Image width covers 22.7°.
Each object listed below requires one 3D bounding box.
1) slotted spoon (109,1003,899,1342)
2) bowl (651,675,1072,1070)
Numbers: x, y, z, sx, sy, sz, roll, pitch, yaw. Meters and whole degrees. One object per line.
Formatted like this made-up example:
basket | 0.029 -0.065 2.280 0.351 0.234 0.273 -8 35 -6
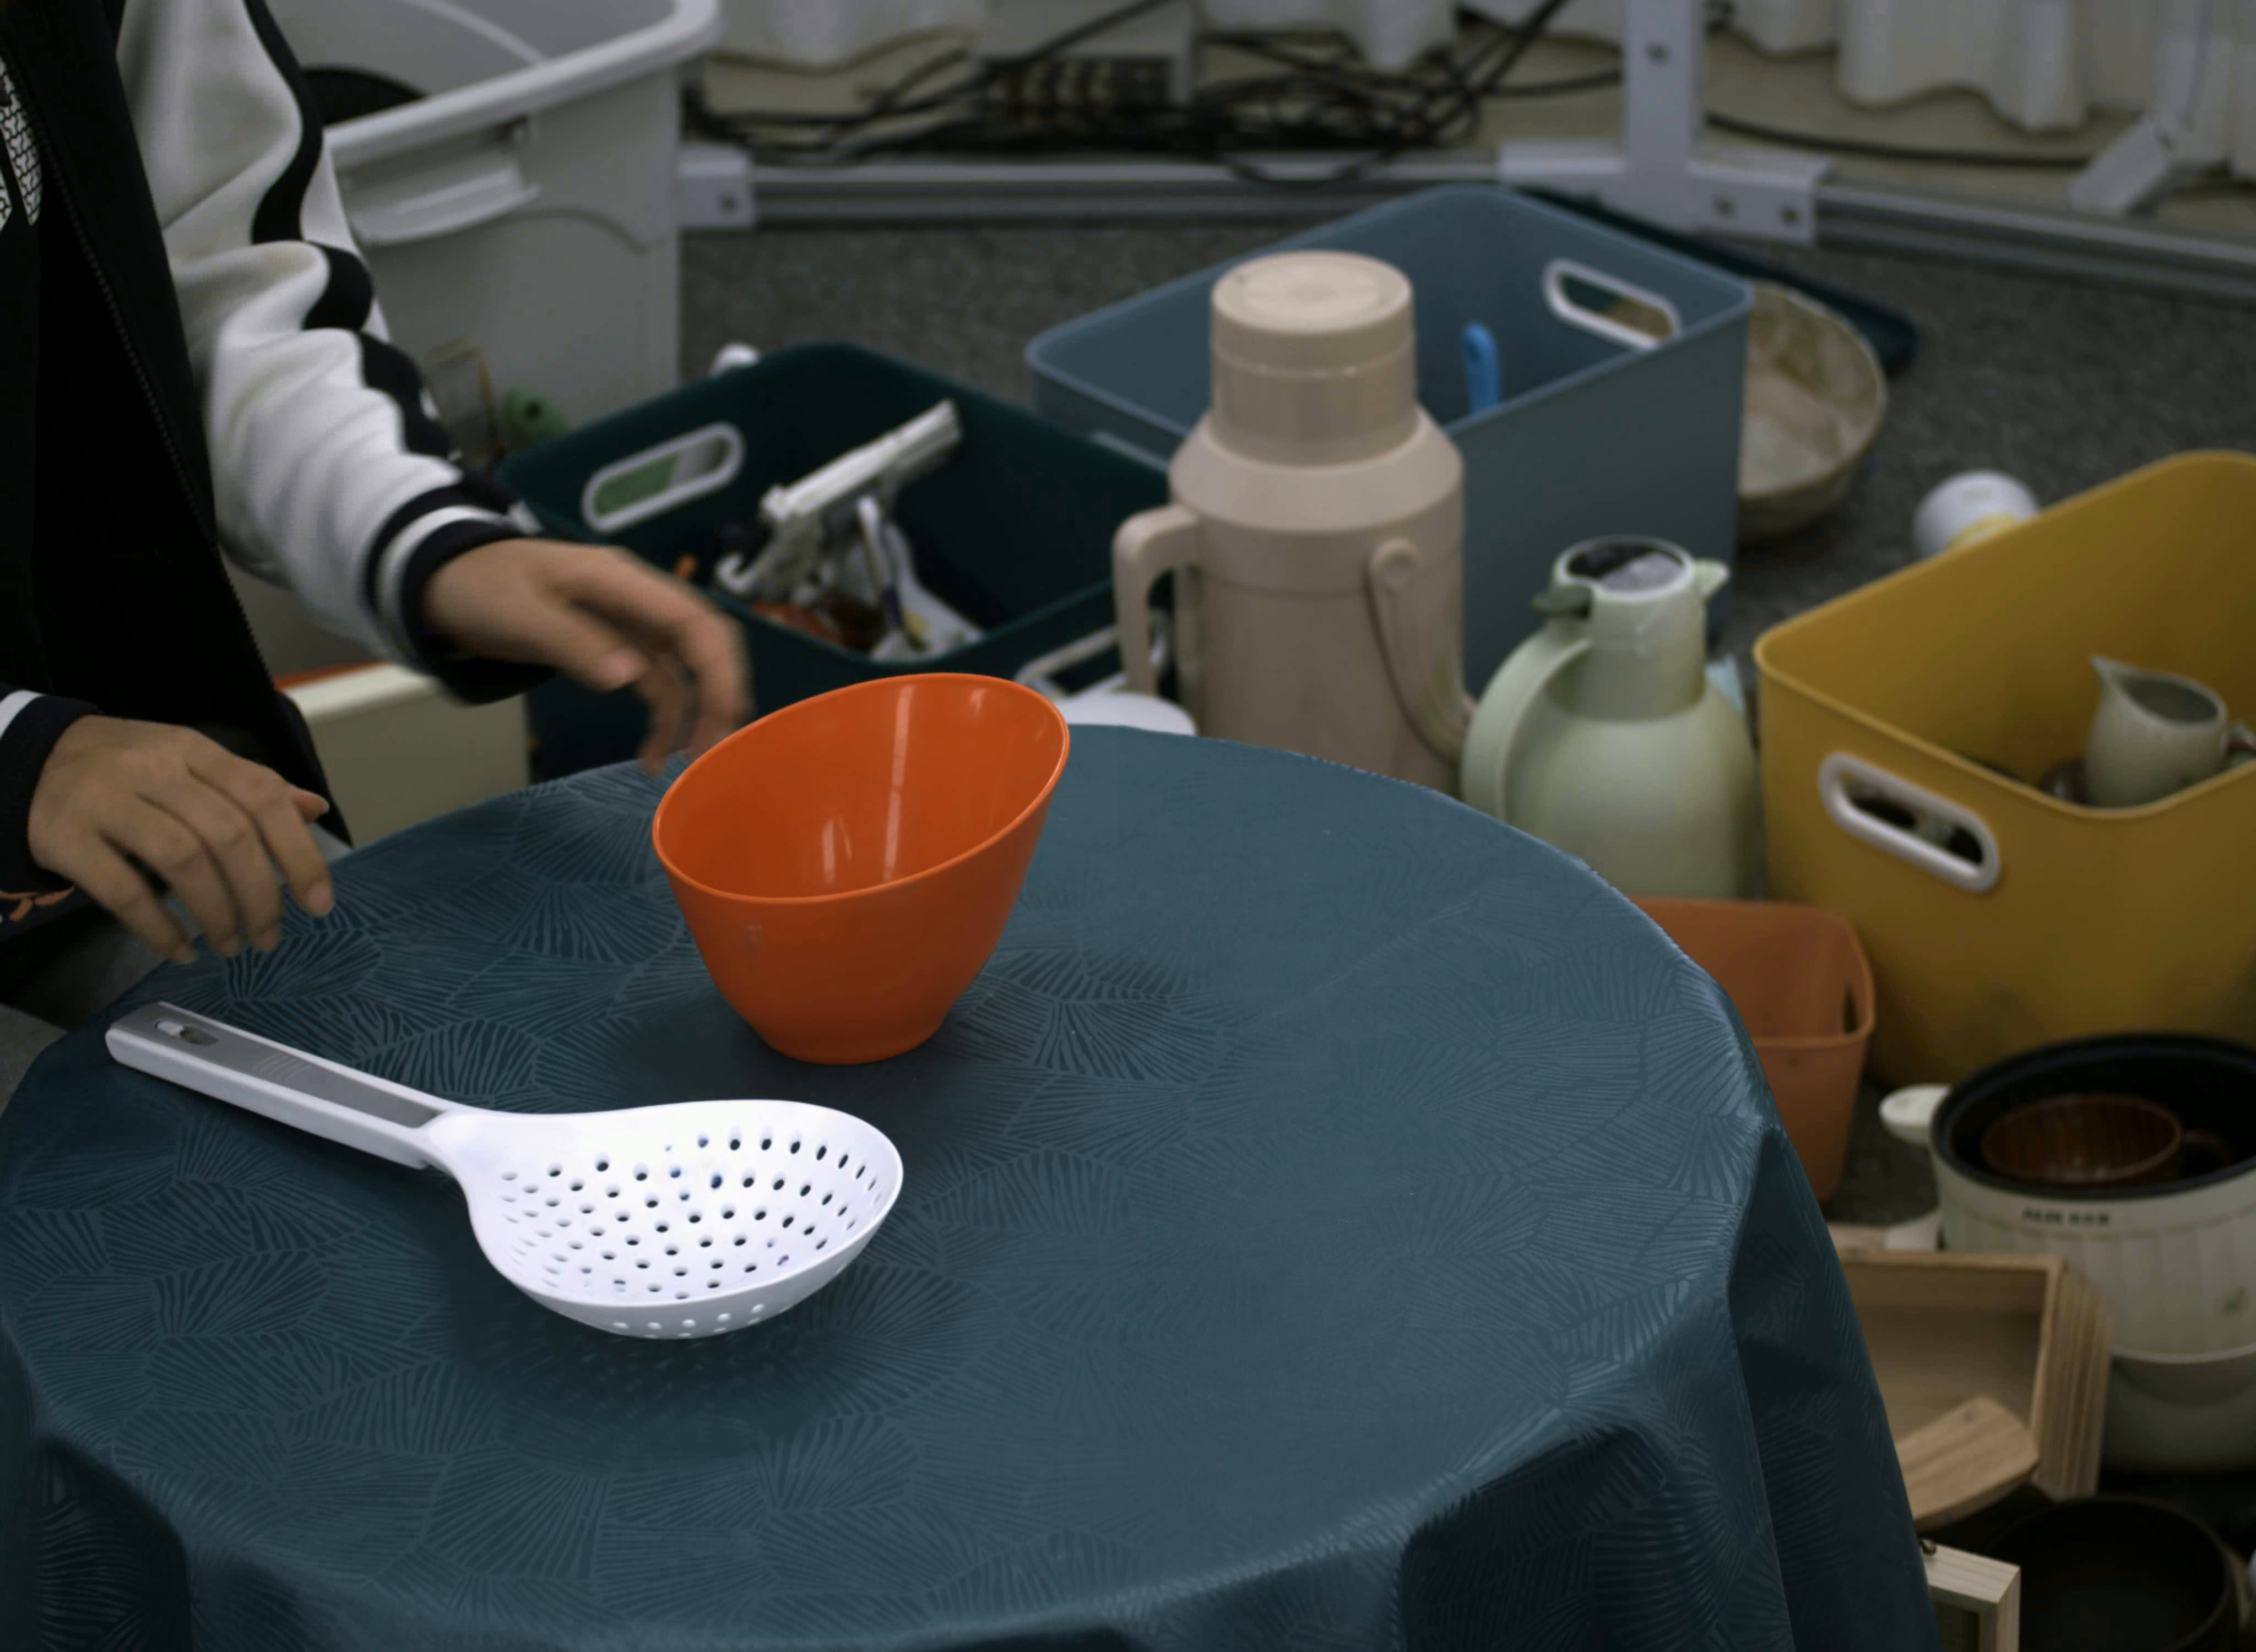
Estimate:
slotted spoon | -0.220 0.106 1.864 0.348 0.045 0.138 19 34 37
bowl | -0.089 0.023 1.954 0.147 0.103 0.150 -2 29 2
